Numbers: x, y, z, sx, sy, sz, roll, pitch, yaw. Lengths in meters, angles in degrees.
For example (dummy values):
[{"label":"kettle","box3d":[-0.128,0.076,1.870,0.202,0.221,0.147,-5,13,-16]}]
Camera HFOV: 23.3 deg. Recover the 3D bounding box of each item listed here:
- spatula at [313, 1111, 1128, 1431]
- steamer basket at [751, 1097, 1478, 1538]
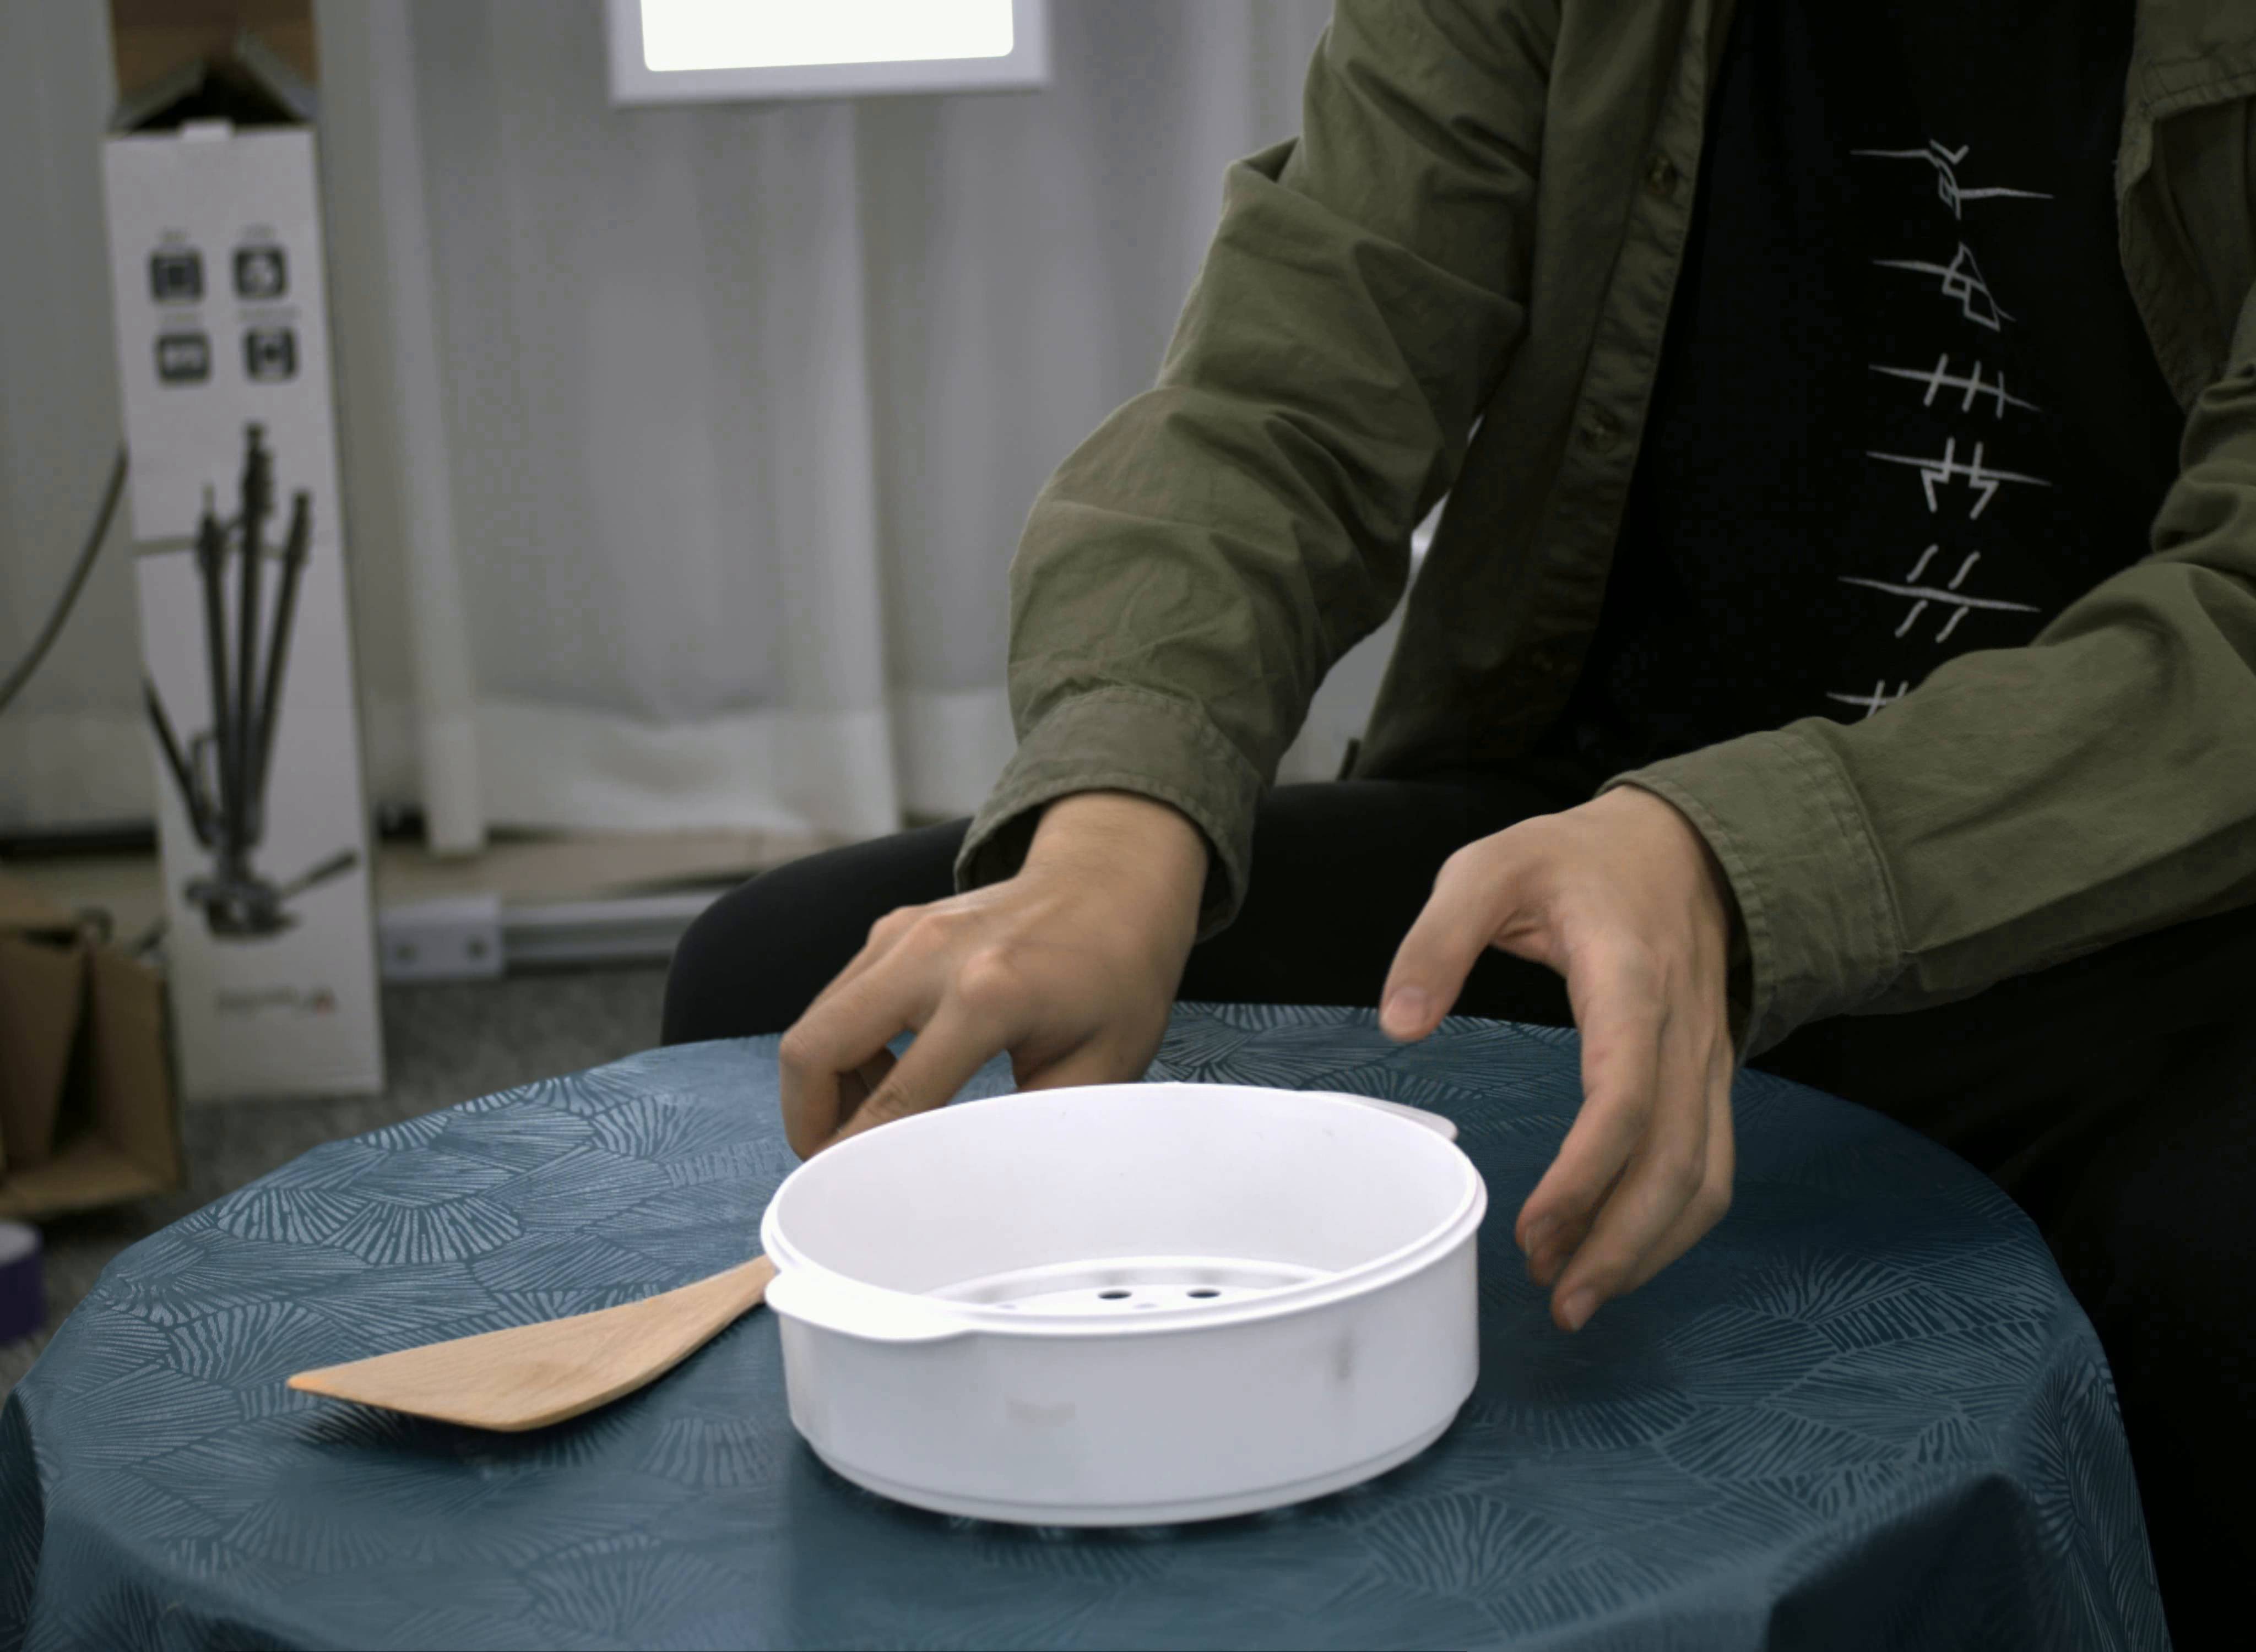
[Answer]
[{"label":"spatula","box3d":[-0.102,0.130,1.647,0.080,0.016,0.327,9,20,38]},{"label":"steamer basket","box3d":[-0.003,0.136,1.515,0.203,0.069,0.230,12,20,44]}]
